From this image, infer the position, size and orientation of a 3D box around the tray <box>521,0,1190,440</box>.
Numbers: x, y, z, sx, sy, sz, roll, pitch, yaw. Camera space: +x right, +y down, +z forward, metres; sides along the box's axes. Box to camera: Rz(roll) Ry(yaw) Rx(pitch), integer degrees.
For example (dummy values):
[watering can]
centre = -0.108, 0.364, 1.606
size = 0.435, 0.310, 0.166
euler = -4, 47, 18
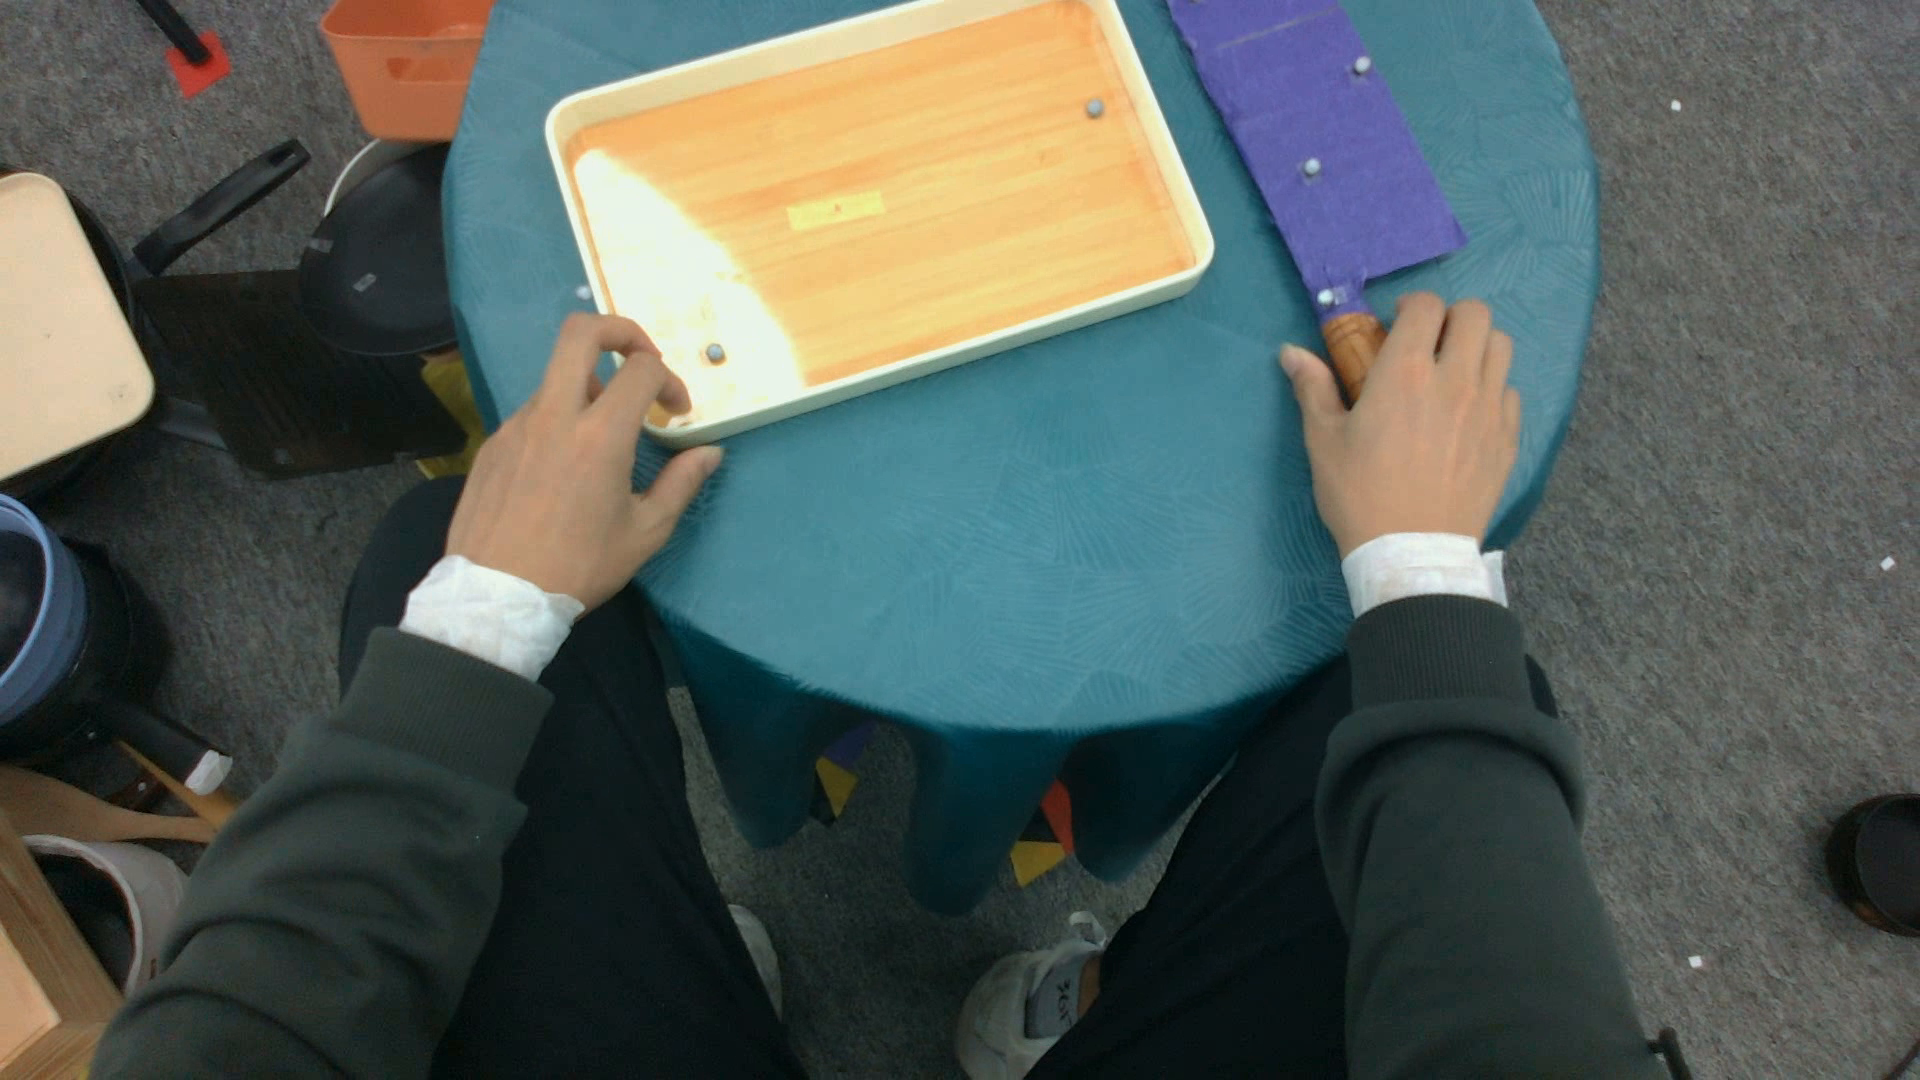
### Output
[tray]
centre = -0.052, -0.179, 0.699
size = 0.300, 0.027, 0.192
euler = -18, 77, -9

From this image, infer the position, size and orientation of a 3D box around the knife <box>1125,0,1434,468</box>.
[knife]
centre = 0.187, -0.192, 0.718
size = 0.104, 0.032, 0.315
euler = -21, 76, -9
